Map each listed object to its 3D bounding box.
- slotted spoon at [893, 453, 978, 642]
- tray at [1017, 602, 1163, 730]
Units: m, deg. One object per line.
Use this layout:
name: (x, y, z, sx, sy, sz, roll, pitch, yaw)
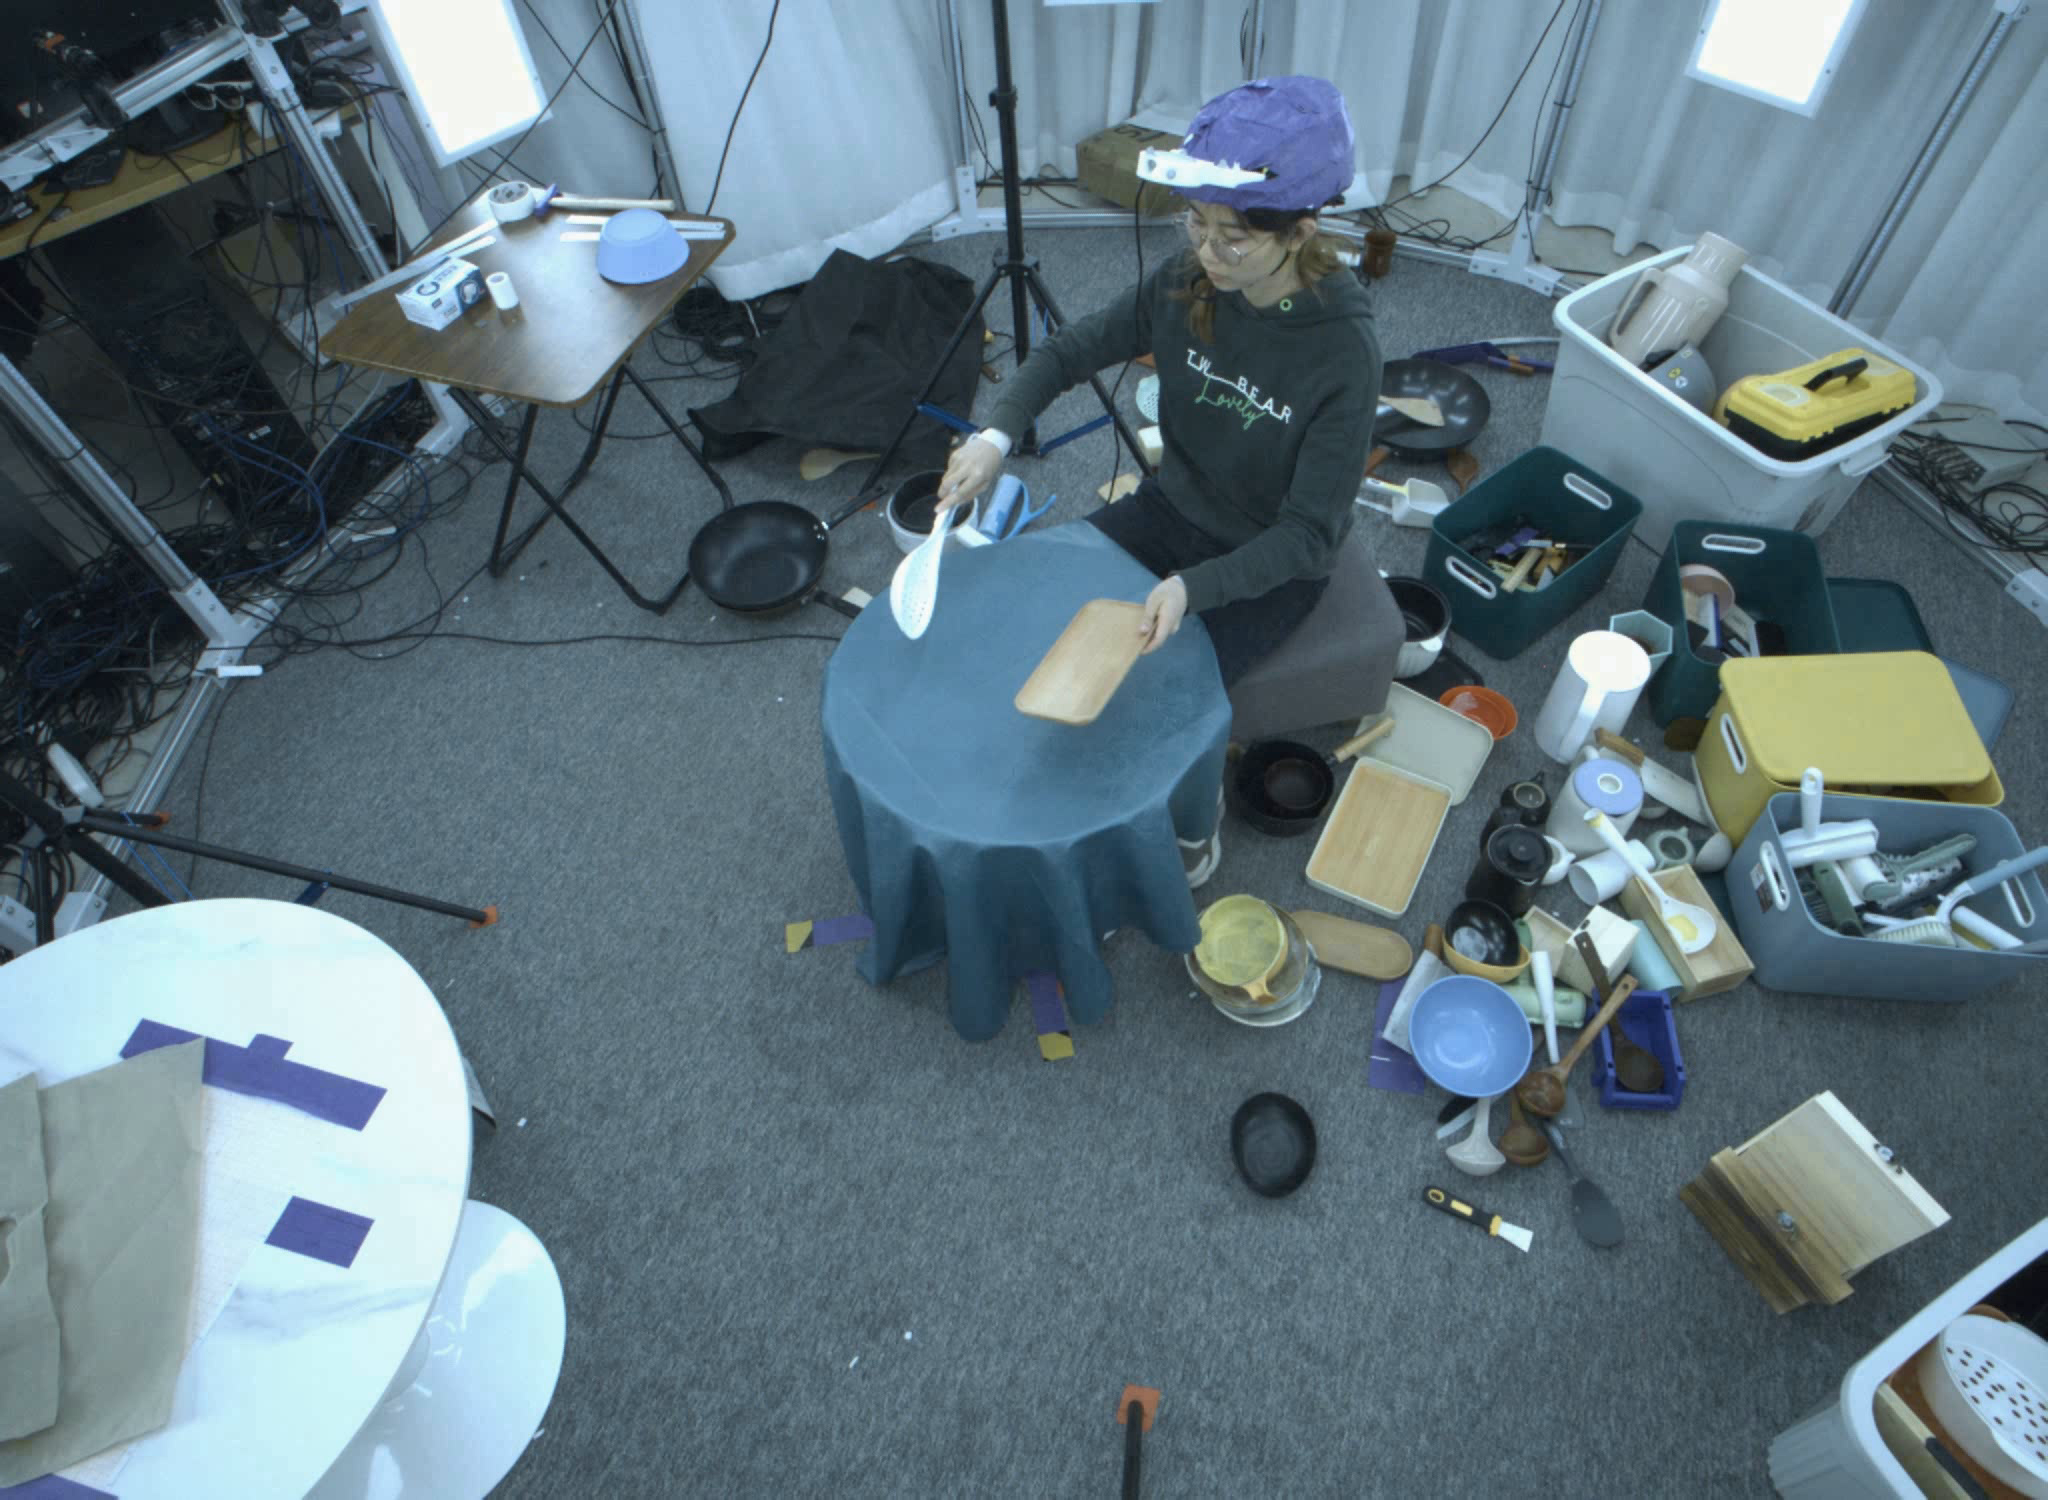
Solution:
slotted spoon: (-0.130, -0.321, 1.859, 0.045, 0.138, 0.349, 15, 64, 15)
tray: (0.095, -0.121, 1.723, 0.128, 0.023, 0.251, 16, 51, 26)
